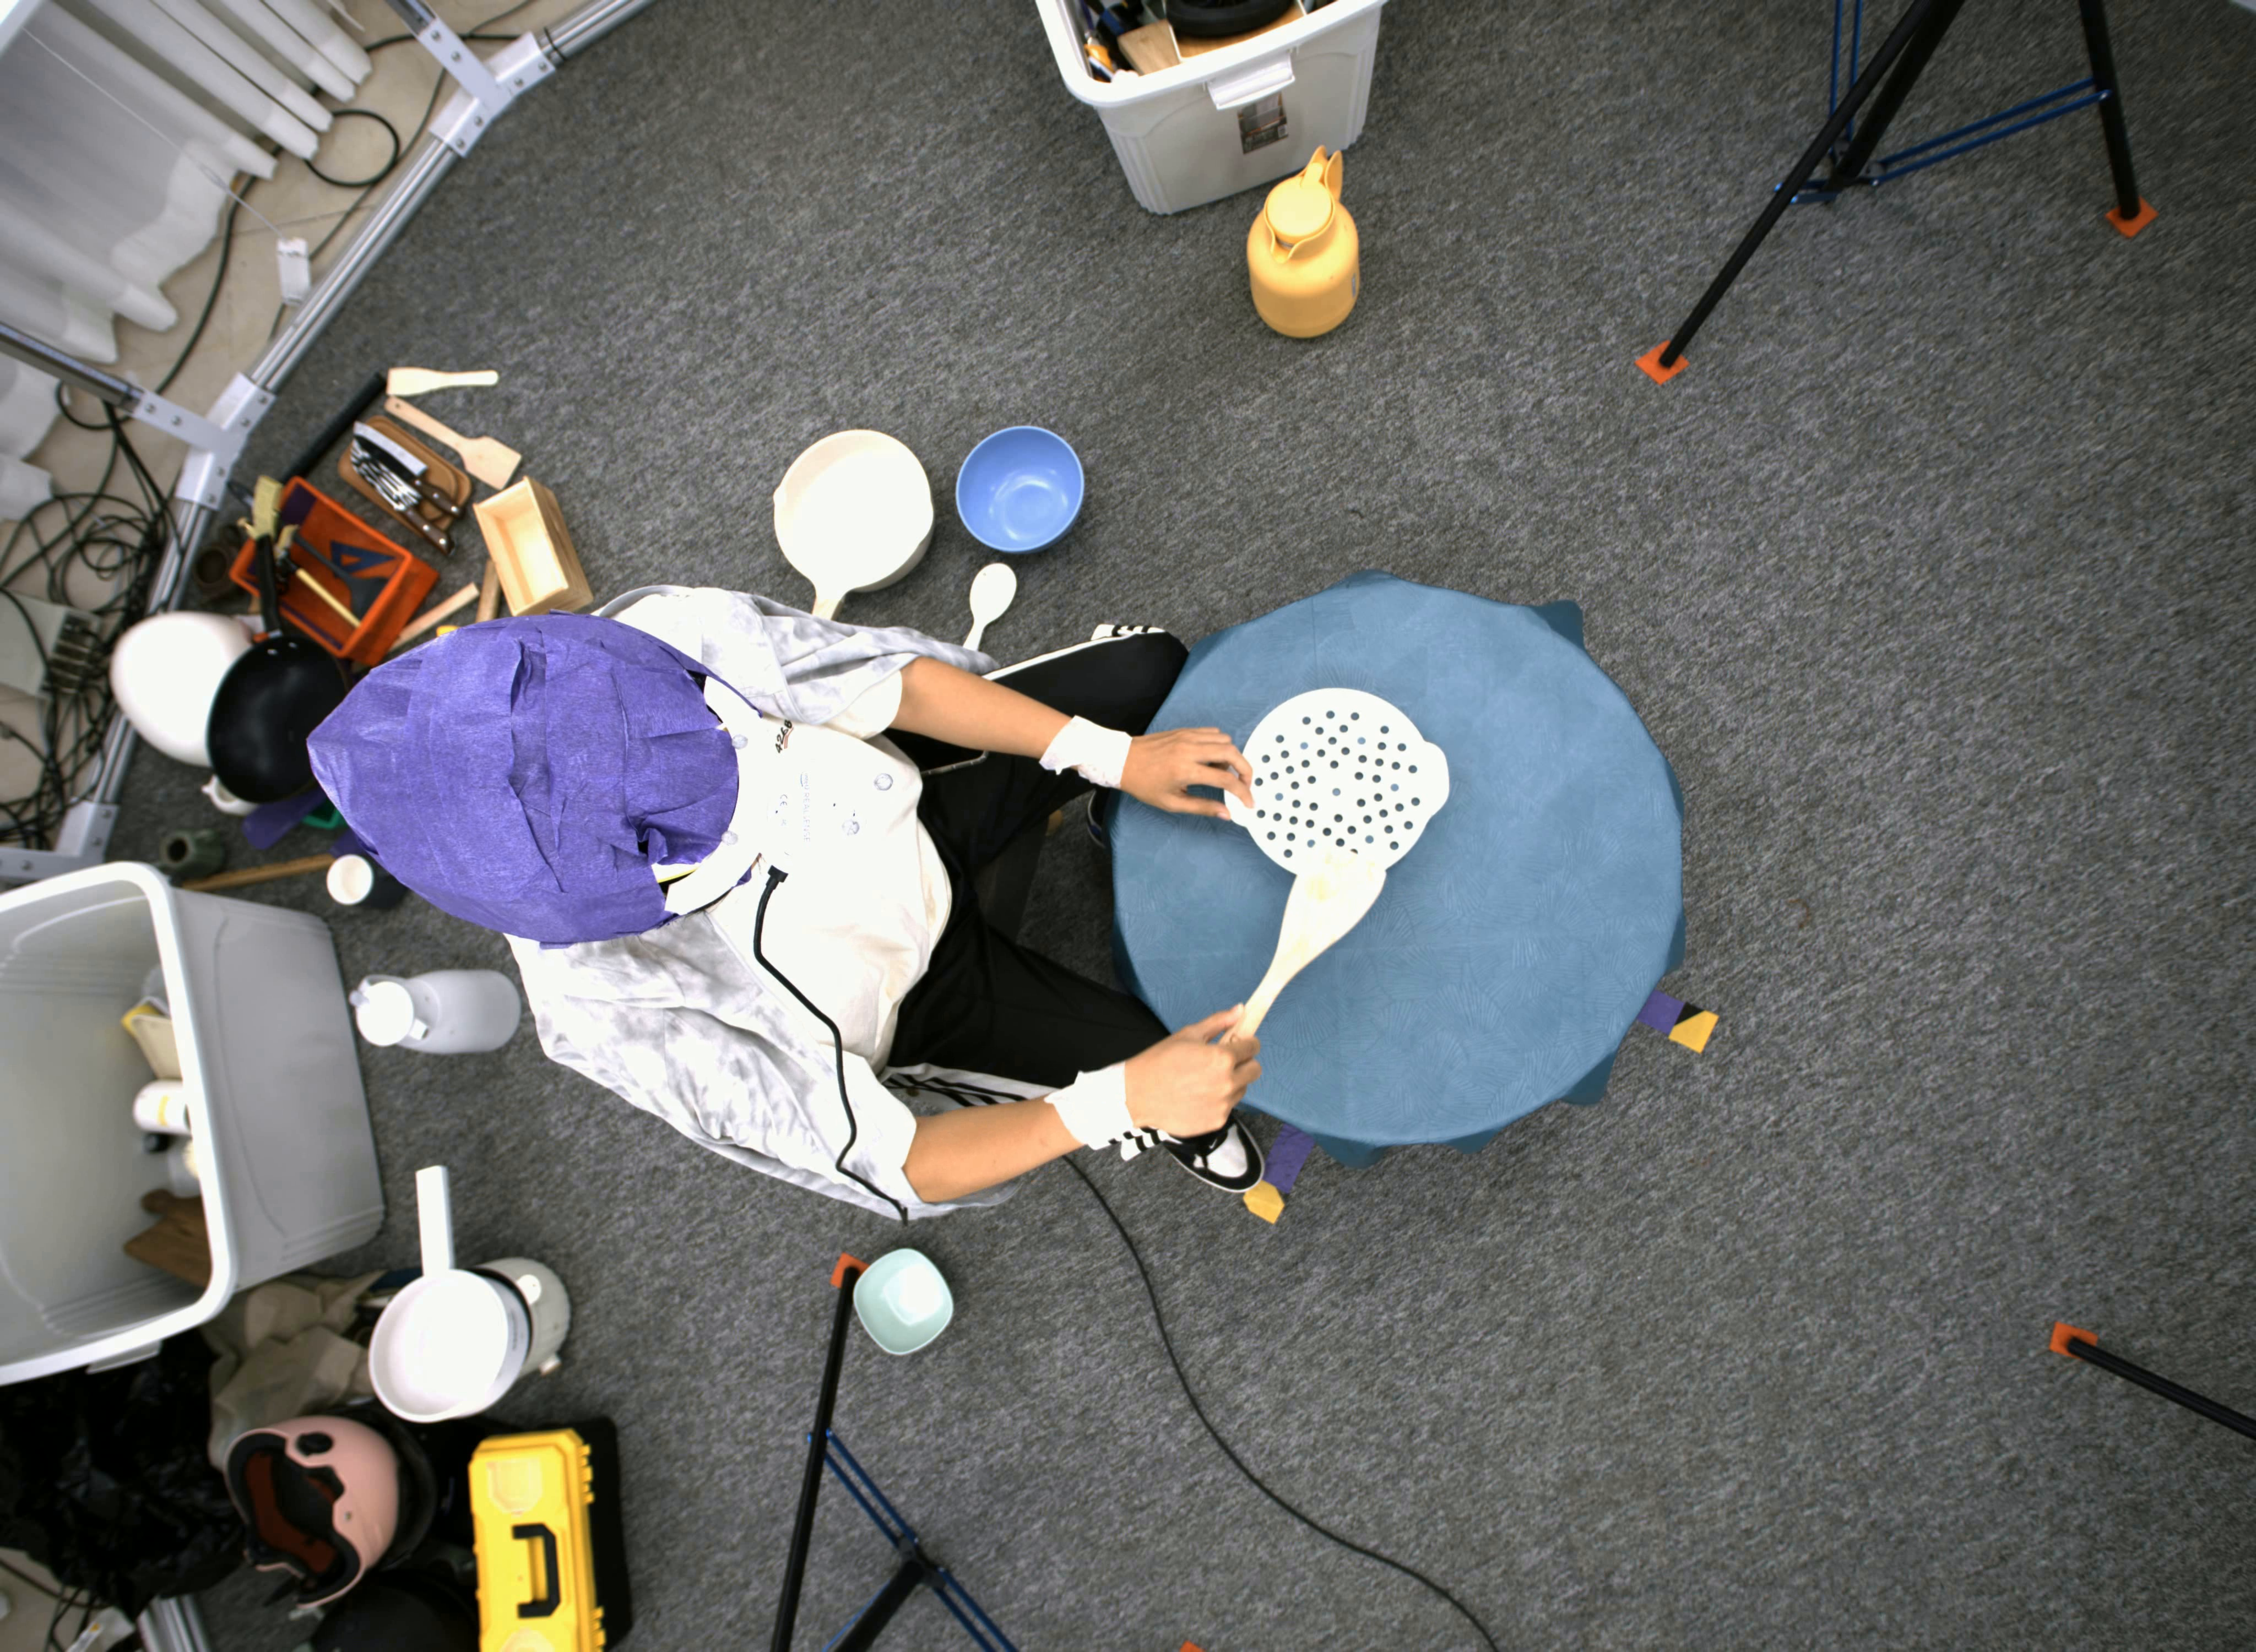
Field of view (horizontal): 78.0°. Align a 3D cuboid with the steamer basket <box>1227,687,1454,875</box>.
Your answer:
[{"bbox_3d":[0.222,-0.041,1.440,0.231,0.069,0.200,-4,85,11],"label":"steamer basket"}]

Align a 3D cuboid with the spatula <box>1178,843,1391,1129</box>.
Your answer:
[{"bbox_3d":[0.140,0.146,1.302,0.080,0.017,0.322,35,68,5],"label":"spatula"}]
